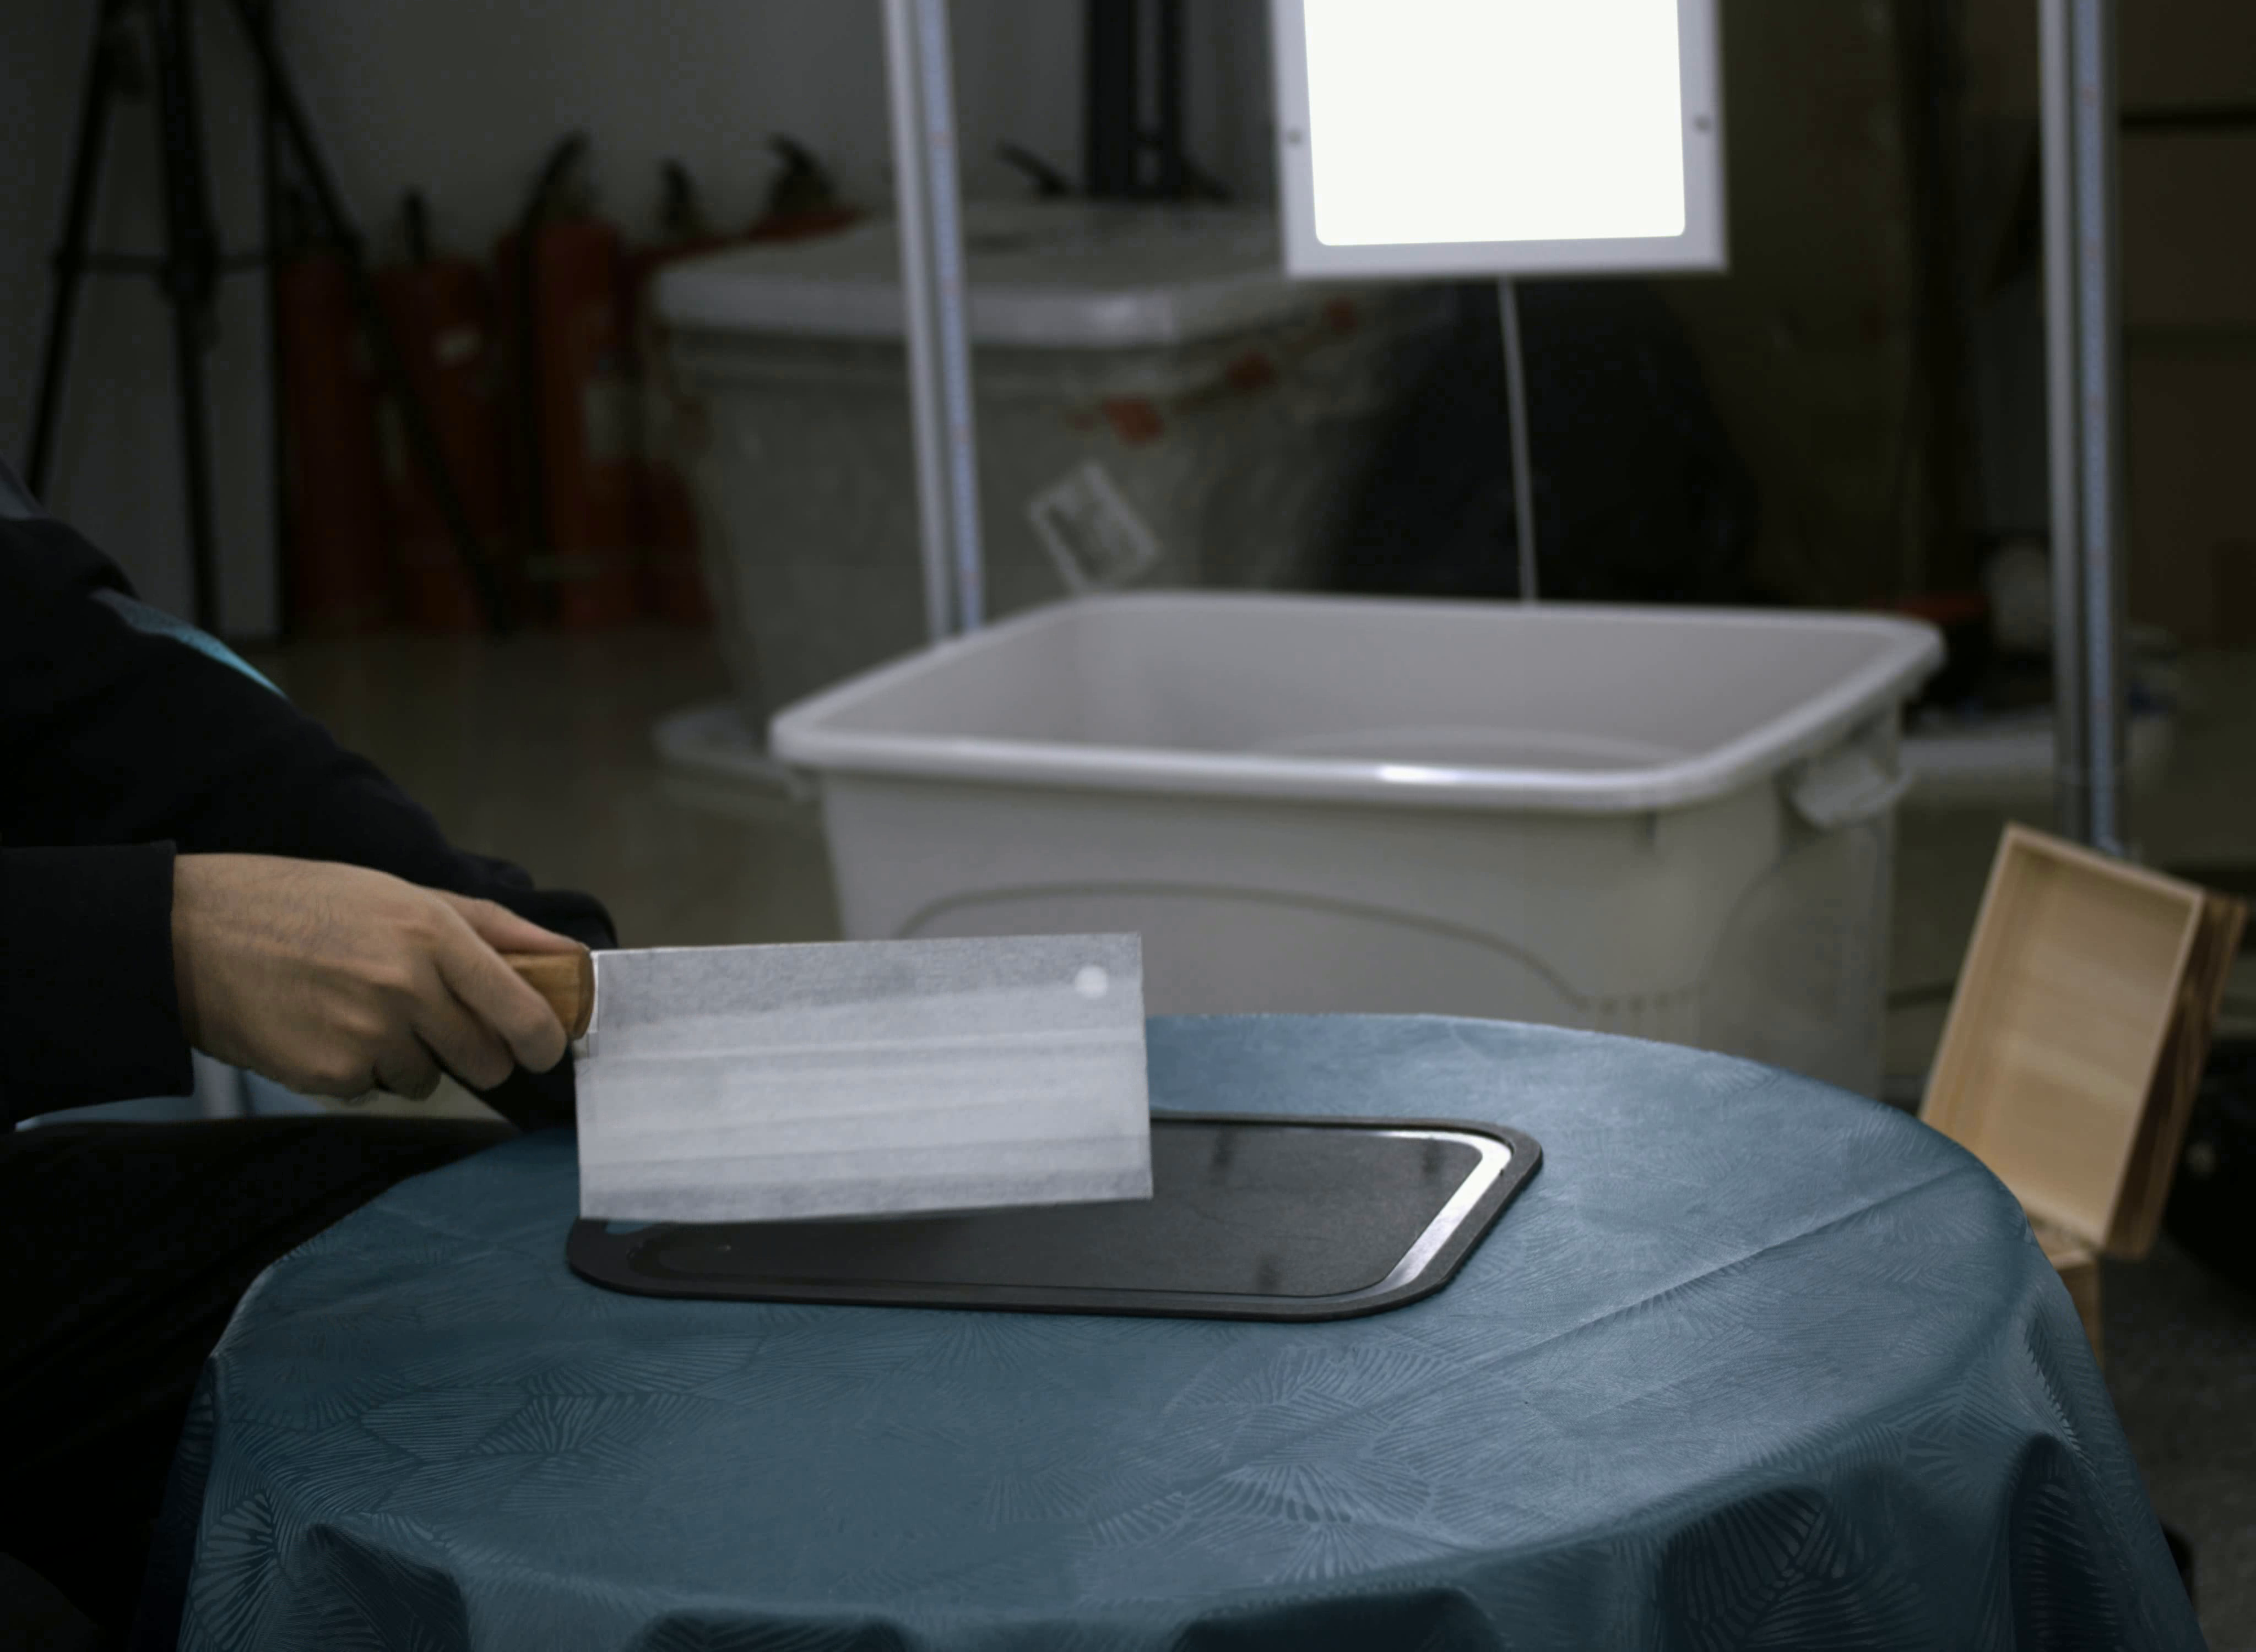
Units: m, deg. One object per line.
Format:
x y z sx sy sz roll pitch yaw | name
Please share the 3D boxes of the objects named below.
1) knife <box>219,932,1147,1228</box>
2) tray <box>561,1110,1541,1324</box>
-0.146 0.084 1.796 0.307 0.093 0.021 -2 4 9 | knife
-0.032 0.128 1.886 0.330 0.010 0.207 1 15 21 | tray
